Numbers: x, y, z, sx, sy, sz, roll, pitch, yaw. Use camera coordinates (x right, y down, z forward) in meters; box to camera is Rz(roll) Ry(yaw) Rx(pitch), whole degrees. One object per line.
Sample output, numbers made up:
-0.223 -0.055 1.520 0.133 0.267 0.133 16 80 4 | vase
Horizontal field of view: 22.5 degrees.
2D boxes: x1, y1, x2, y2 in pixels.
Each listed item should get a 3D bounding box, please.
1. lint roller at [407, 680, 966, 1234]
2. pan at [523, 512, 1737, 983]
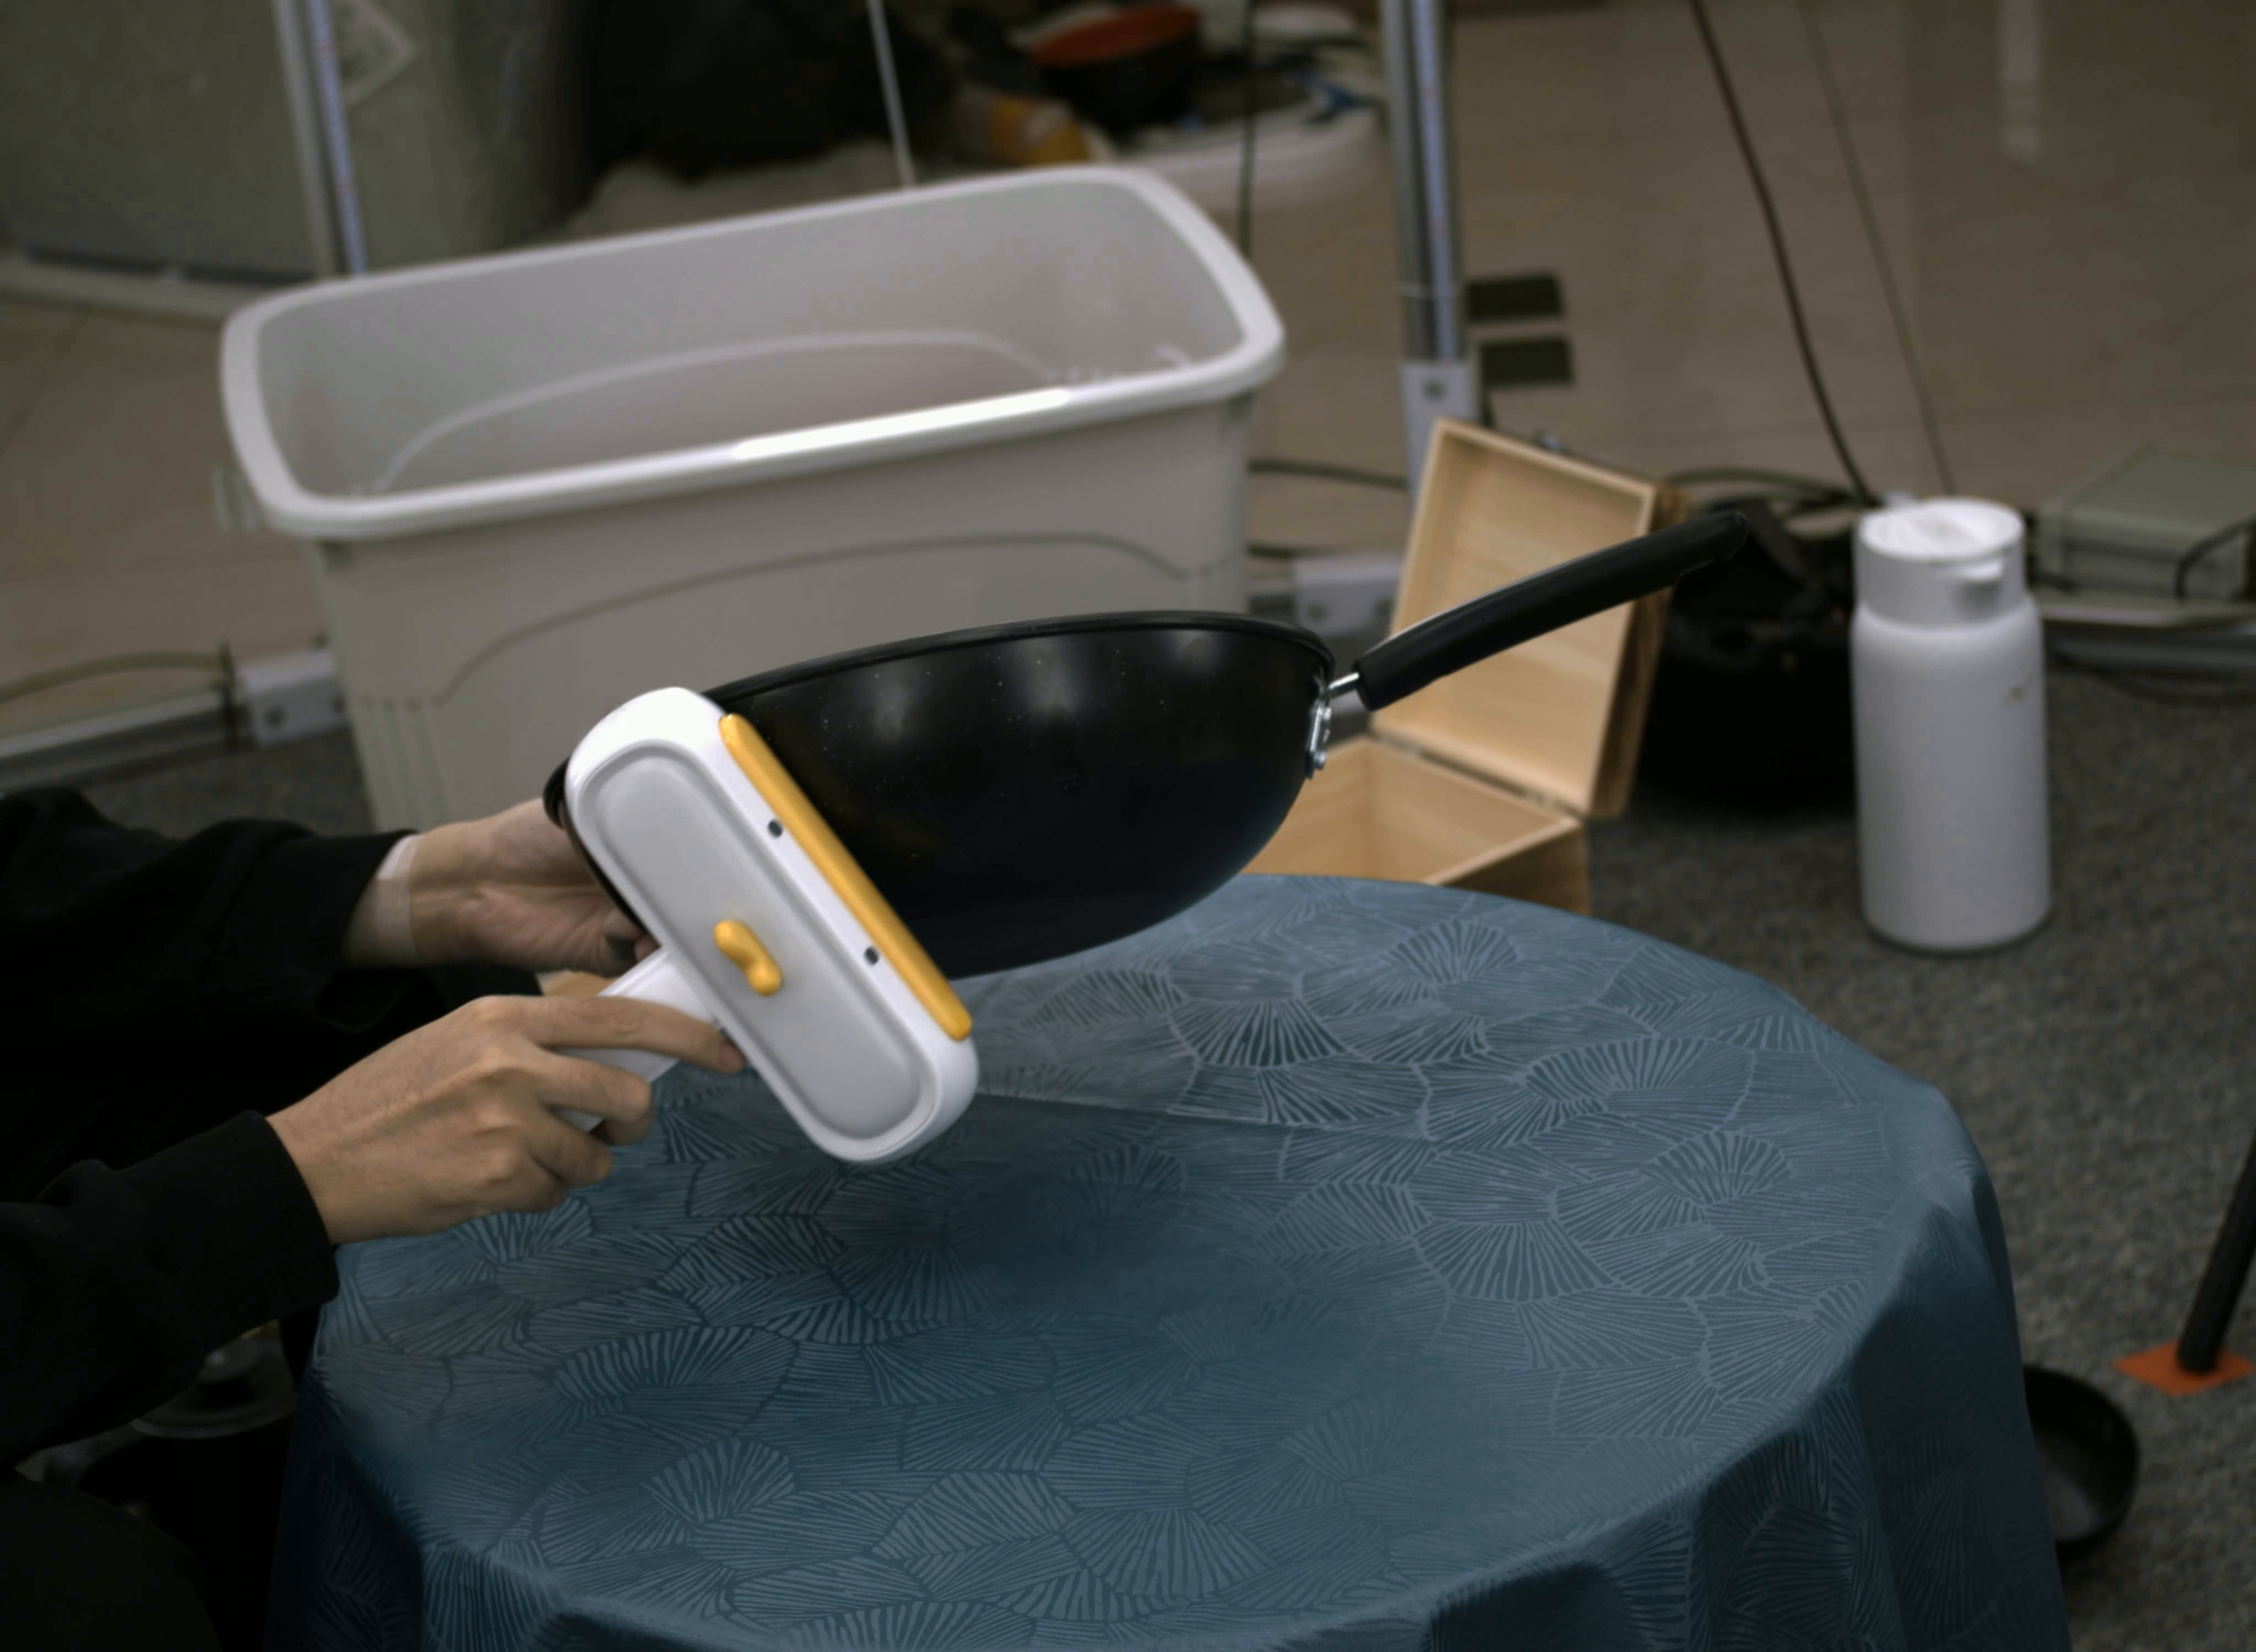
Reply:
-0.179 0.072 2.035 0.193 0.194 0.073 -39 15 10 | lint roller
0.009 -0.022 2.162 0.476 0.111 0.312 -11 -9 -2 | pan
